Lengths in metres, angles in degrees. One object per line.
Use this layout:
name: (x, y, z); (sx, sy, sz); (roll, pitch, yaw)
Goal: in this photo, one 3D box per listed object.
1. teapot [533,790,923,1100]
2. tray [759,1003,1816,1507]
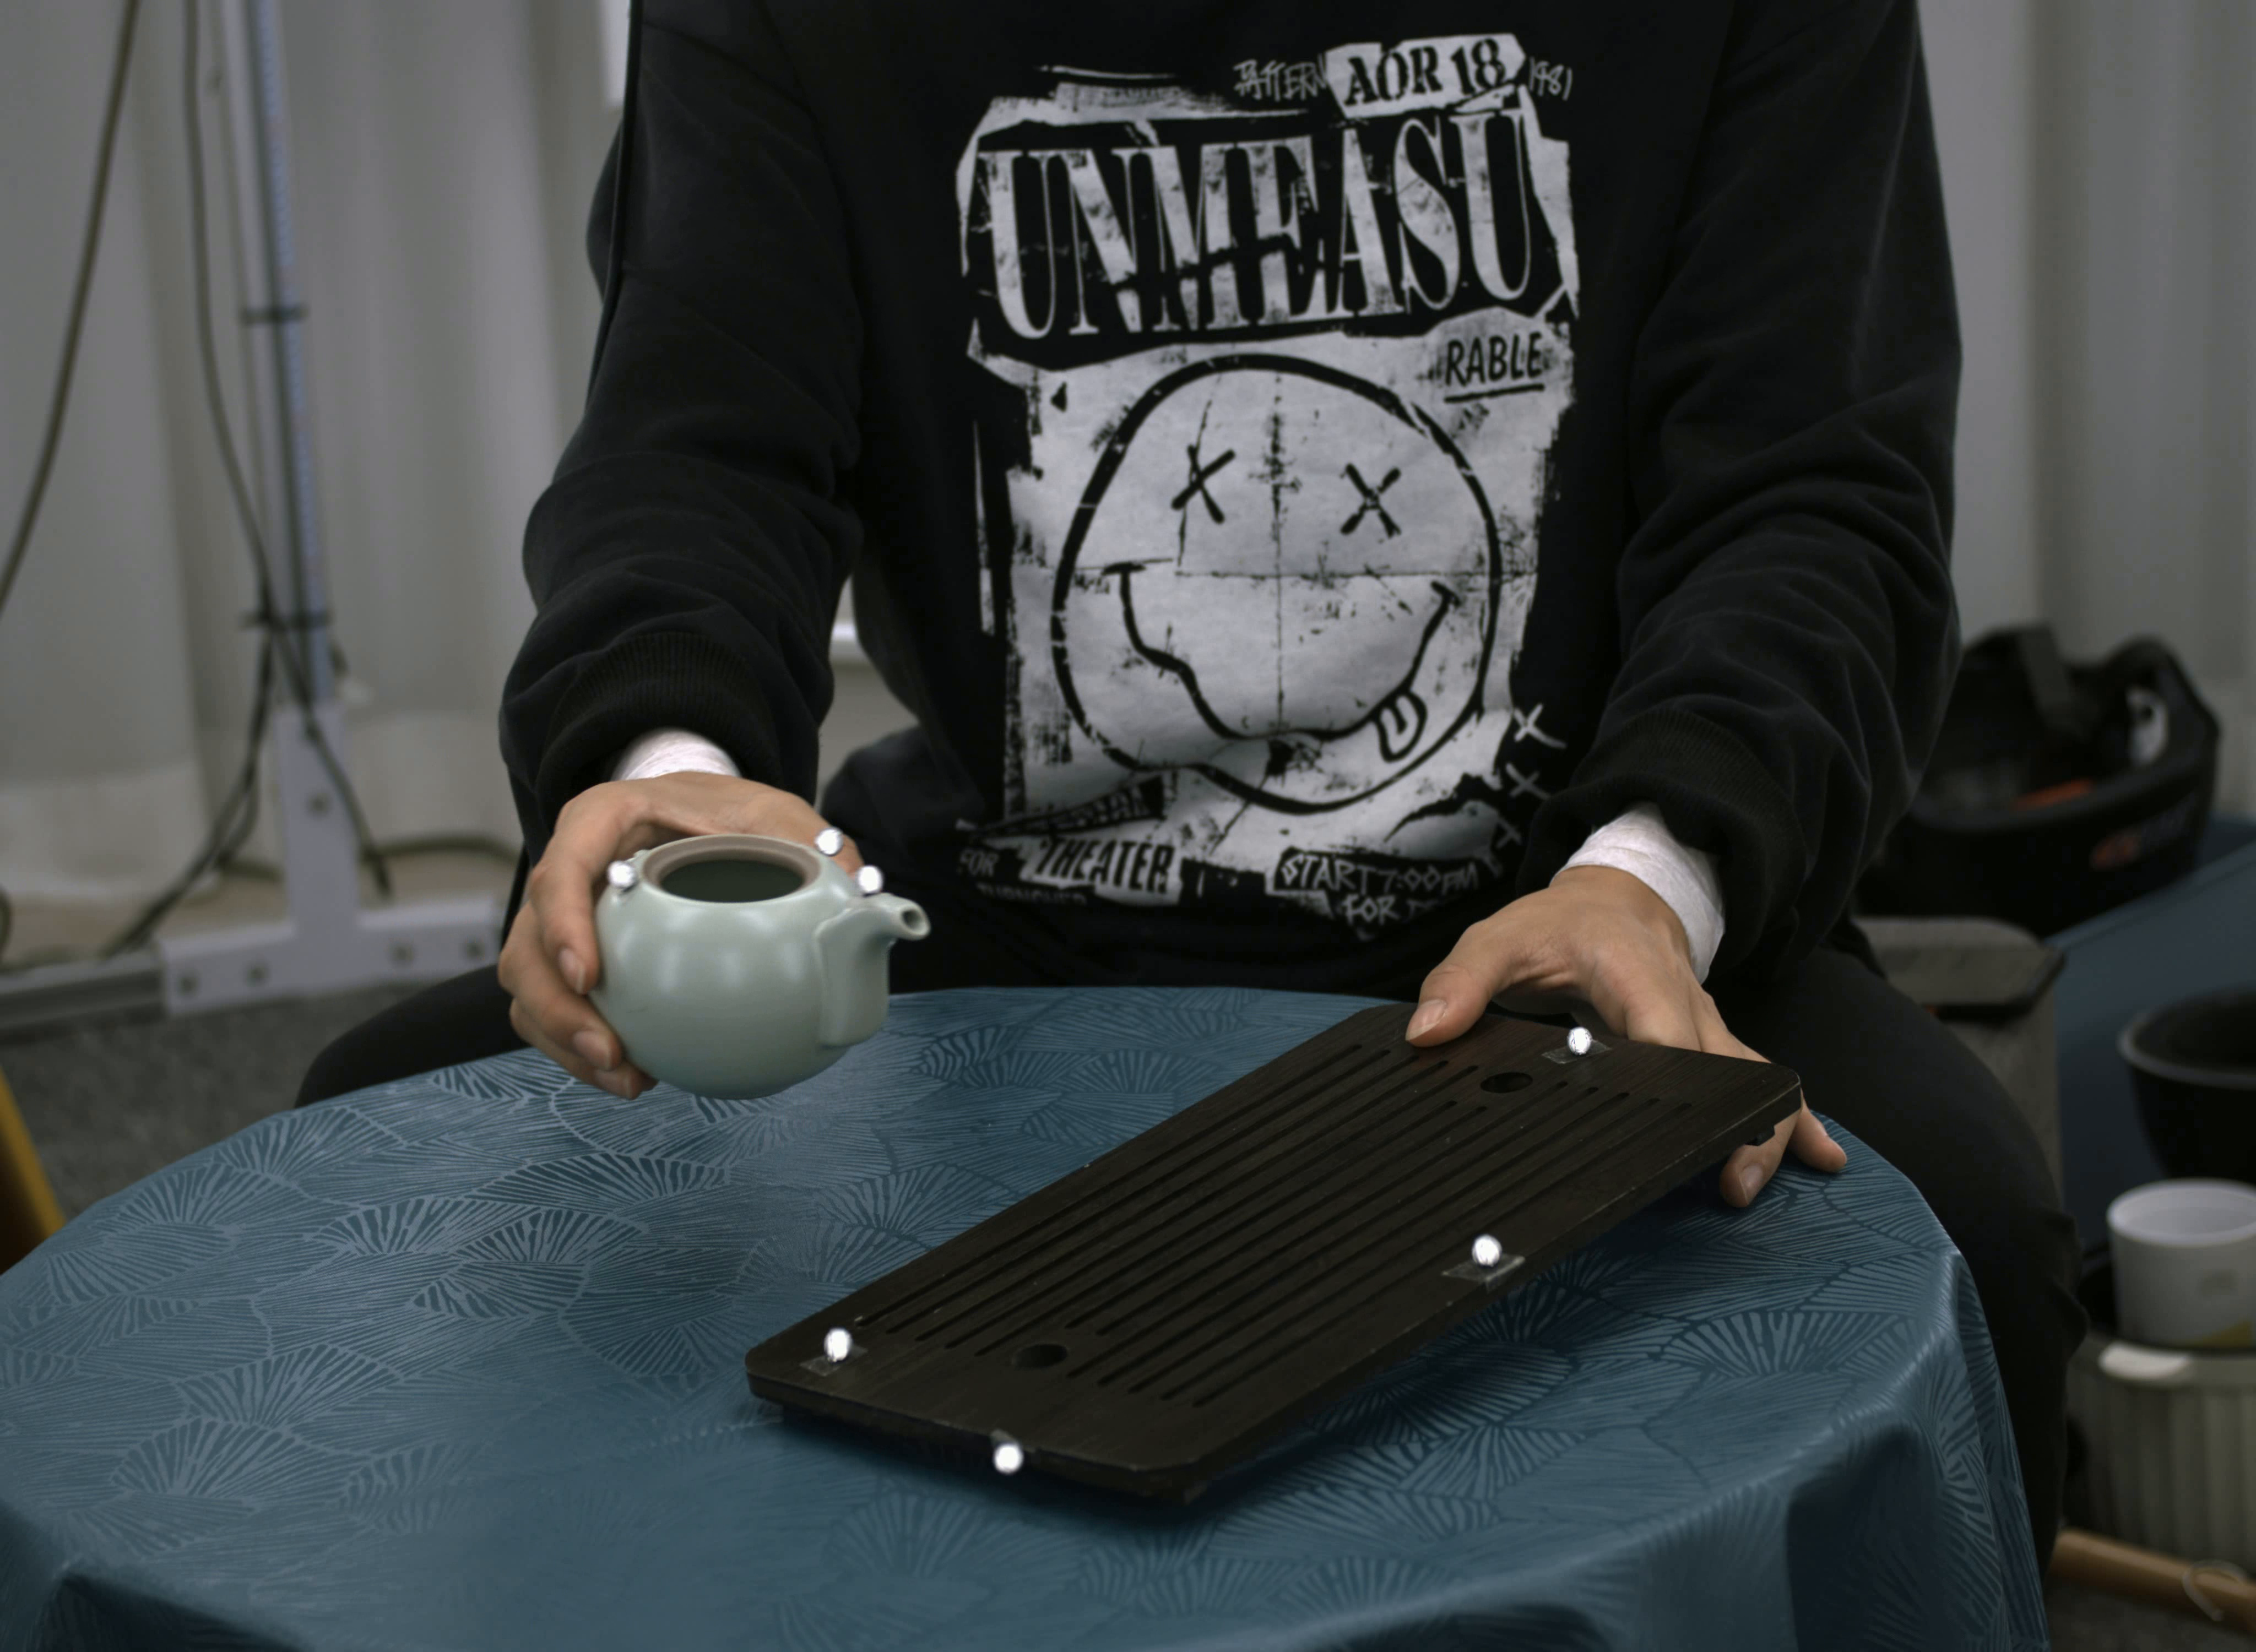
teapot: (-0.120, 0.040, 1.625); (0.145, 0.074, 0.088); (19, 27, 34)
tray: (0.051, 0.121, 1.589); (0.171, 0.018, 0.306); (9, 24, 41)
